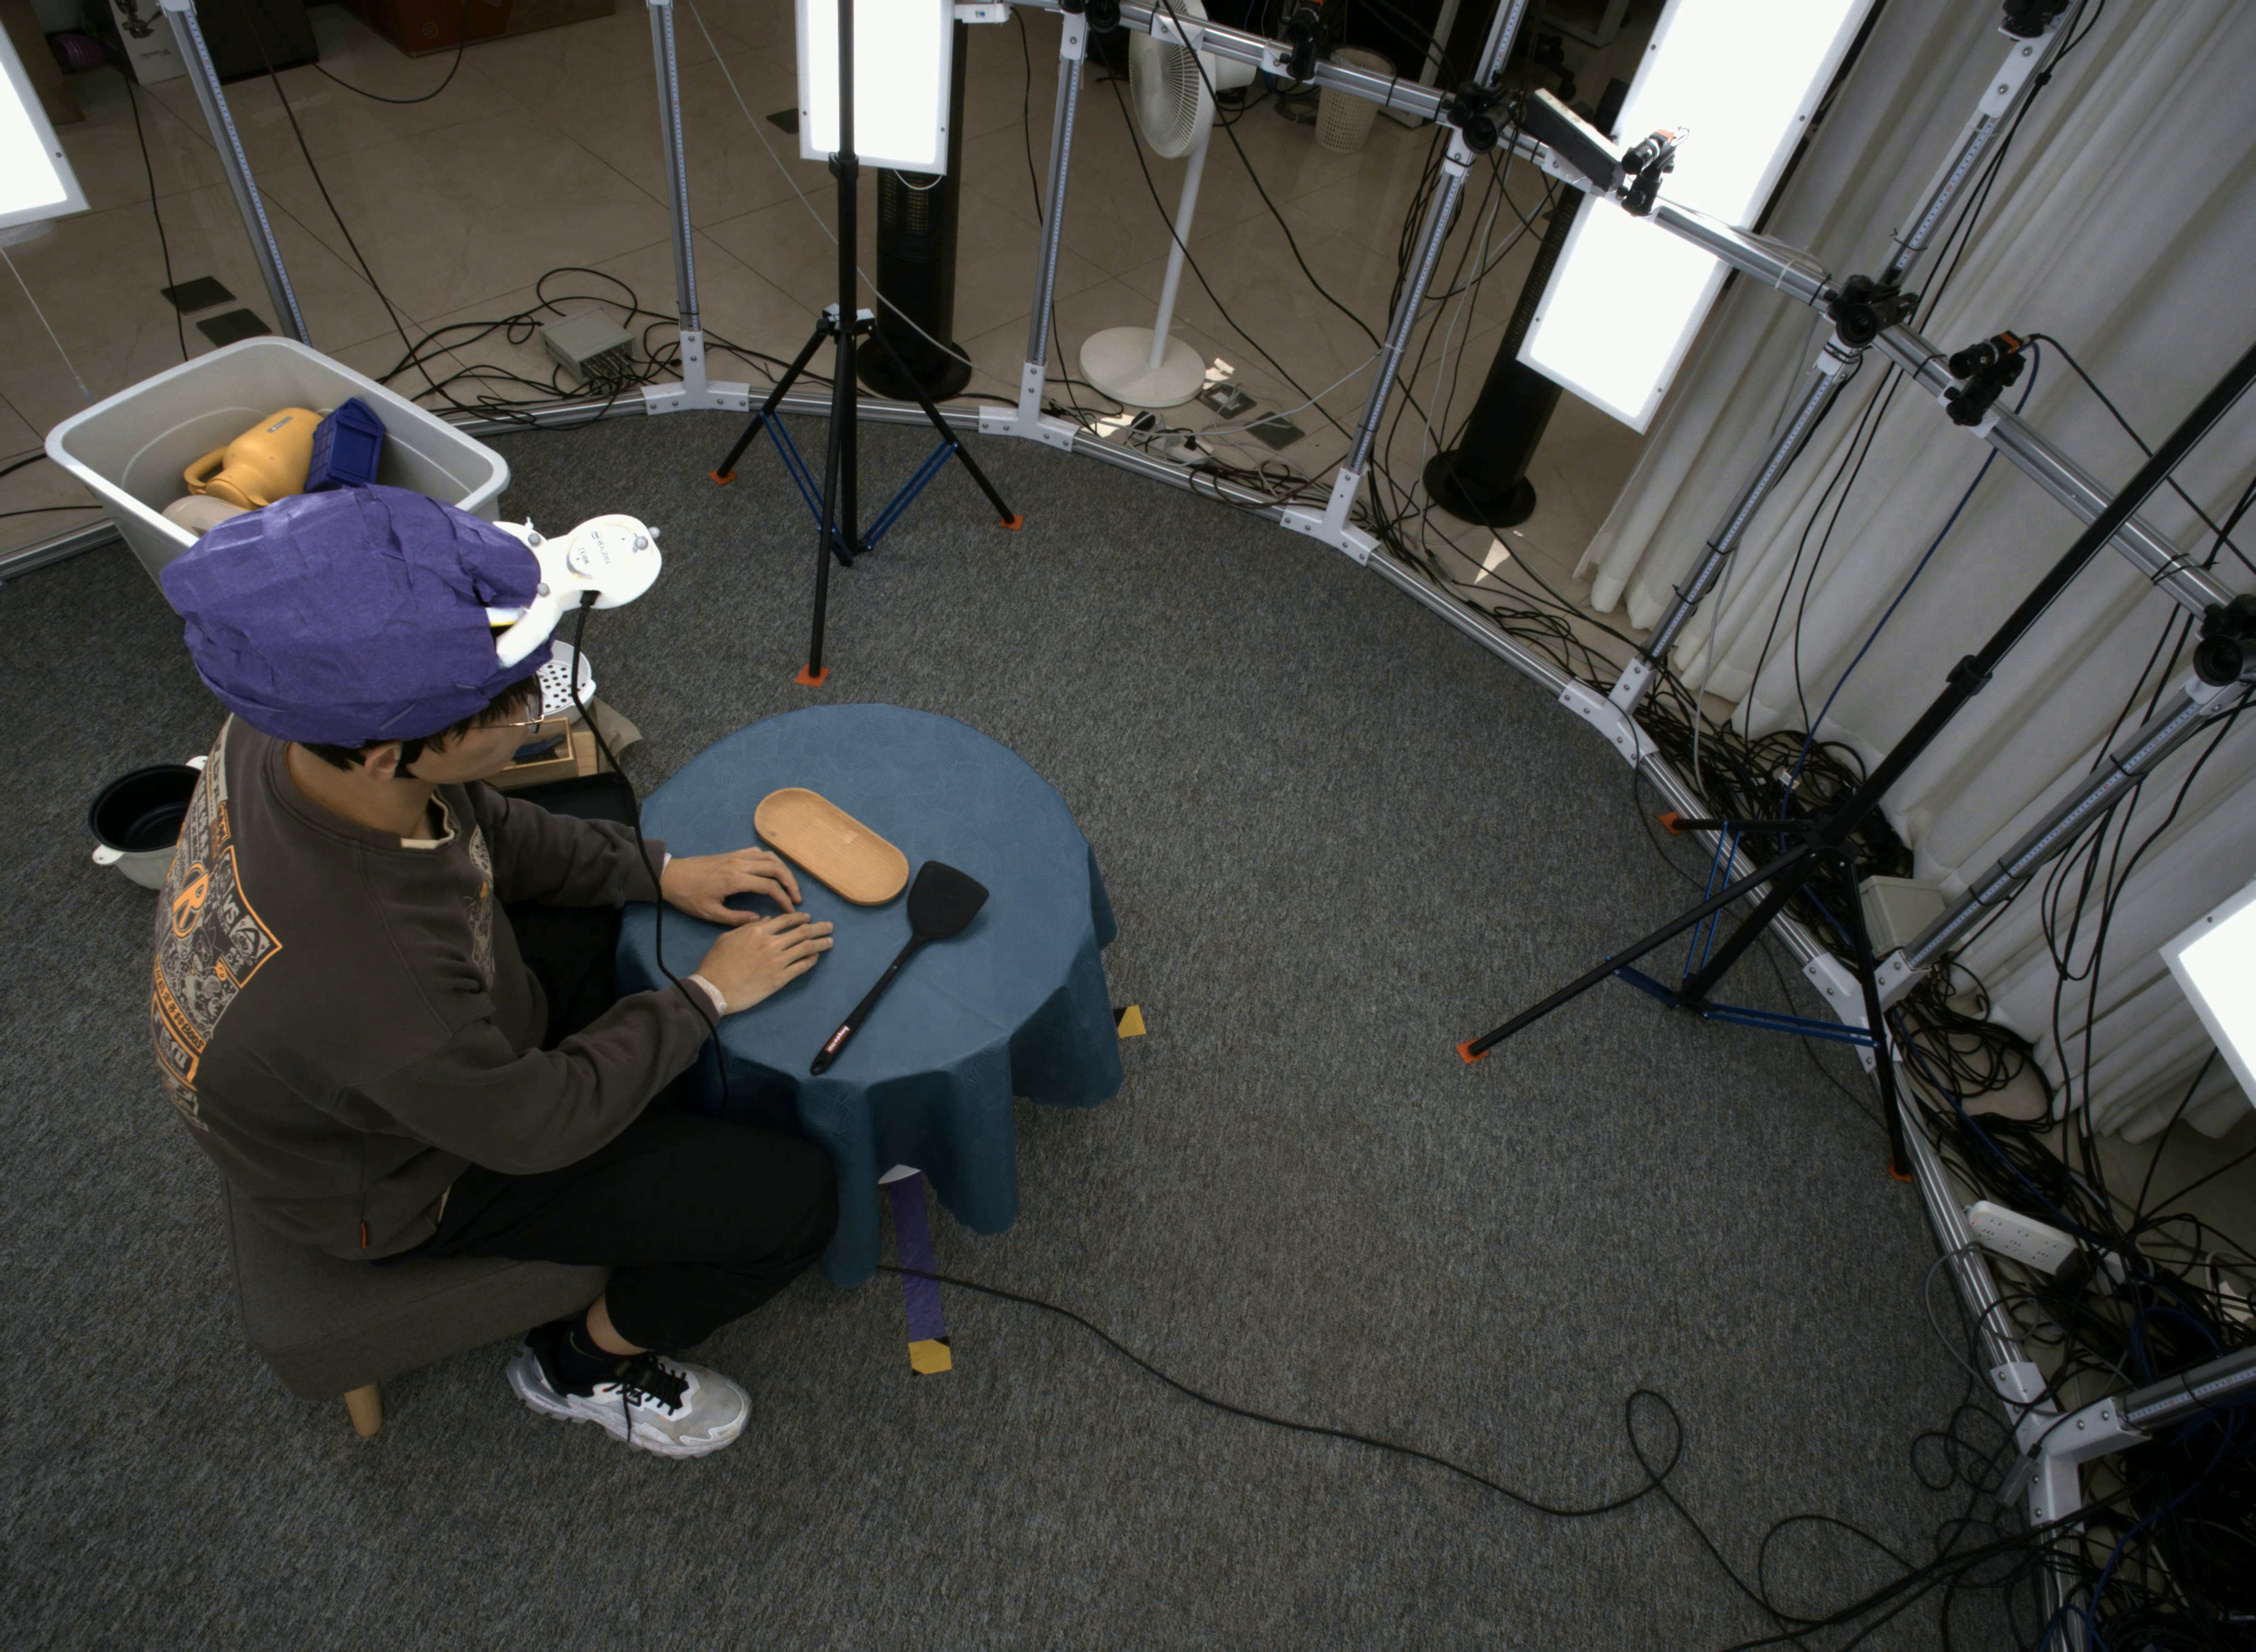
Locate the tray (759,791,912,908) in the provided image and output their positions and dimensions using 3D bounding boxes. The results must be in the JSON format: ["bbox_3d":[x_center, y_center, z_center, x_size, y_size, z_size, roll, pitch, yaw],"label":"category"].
[{"bbox_3d":[-0.388,0.029,1.716,0.227,0.021,0.101,33,54,10],"label":"tray"}]

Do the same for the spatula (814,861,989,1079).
[{"bbox_3d":[-0.293,0.178,1.616,0.098,0.041,0.324,27,53,9],"label":"spatula"}]
